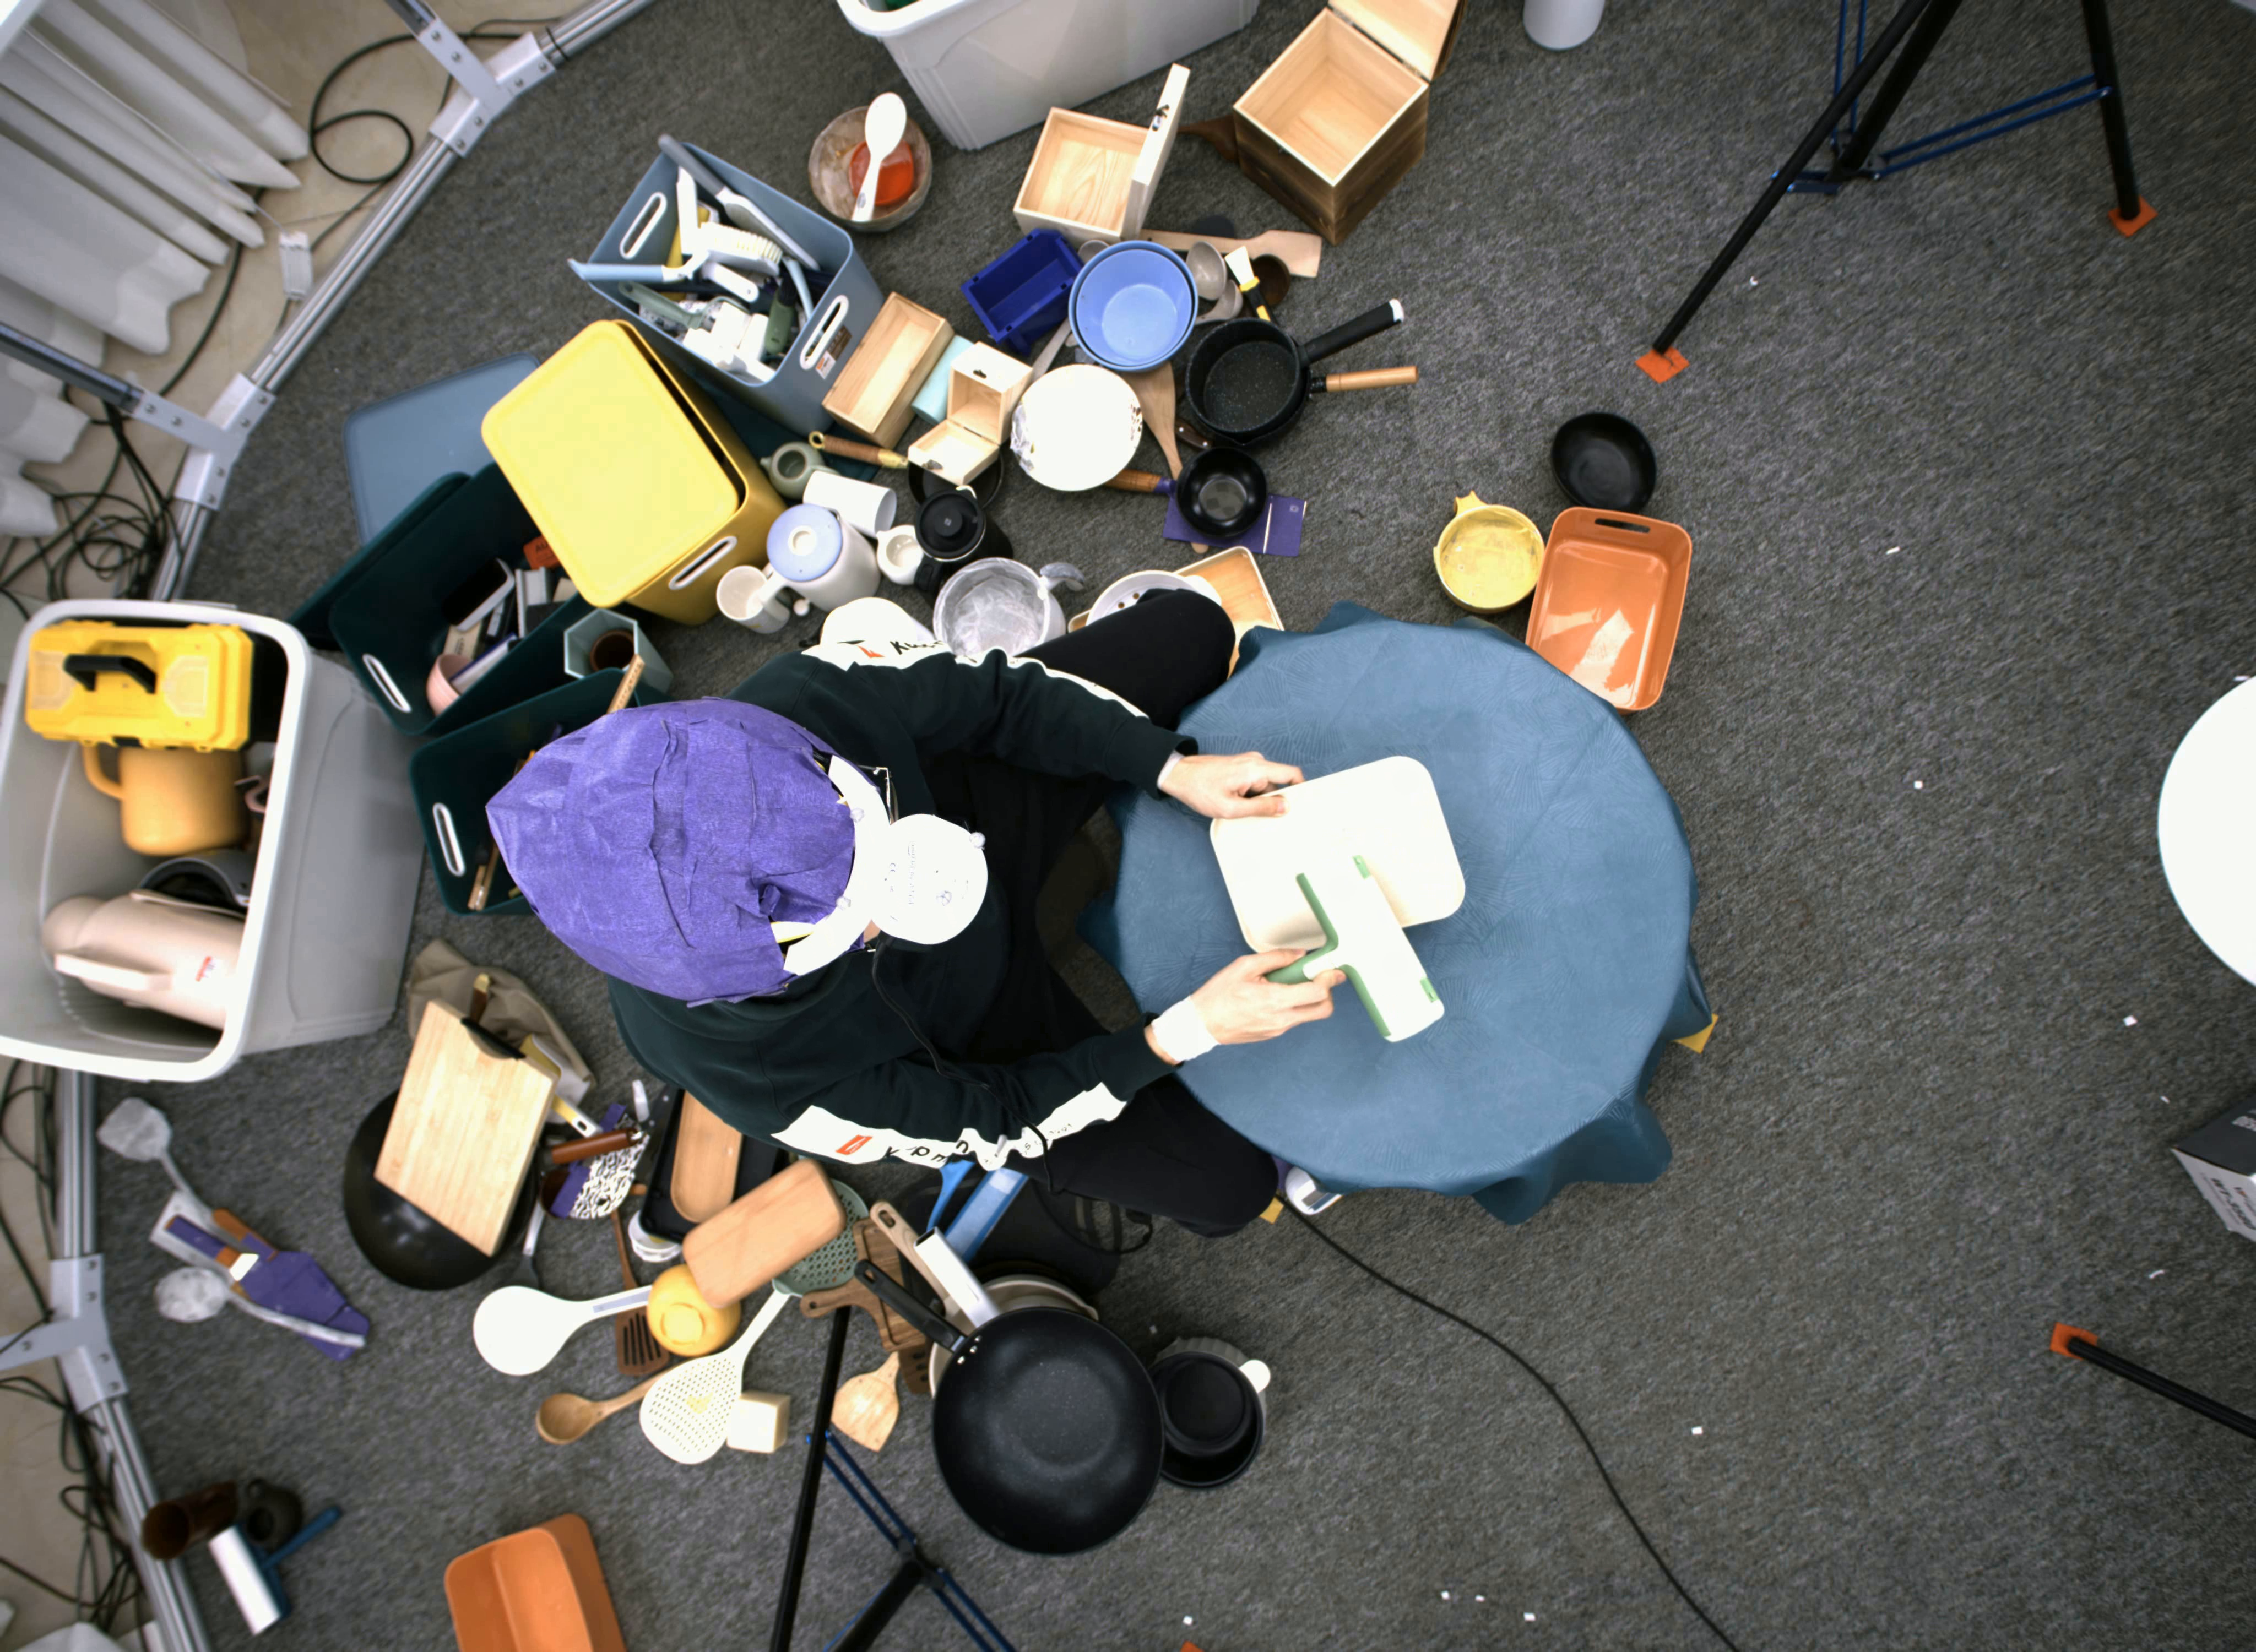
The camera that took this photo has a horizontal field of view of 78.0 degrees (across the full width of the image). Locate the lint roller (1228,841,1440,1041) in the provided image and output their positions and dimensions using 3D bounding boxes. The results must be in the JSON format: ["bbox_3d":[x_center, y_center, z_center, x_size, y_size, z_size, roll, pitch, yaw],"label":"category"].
[{"bbox_3d":[0.180,0.139,1.347,0.183,0.082,0.198,-29,88,1],"label":"lint roller"}]

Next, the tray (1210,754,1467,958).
[{"bbox_3d":[0.211,0.031,1.400,0.242,0.017,0.172,-16,99,25],"label":"tray"}]
